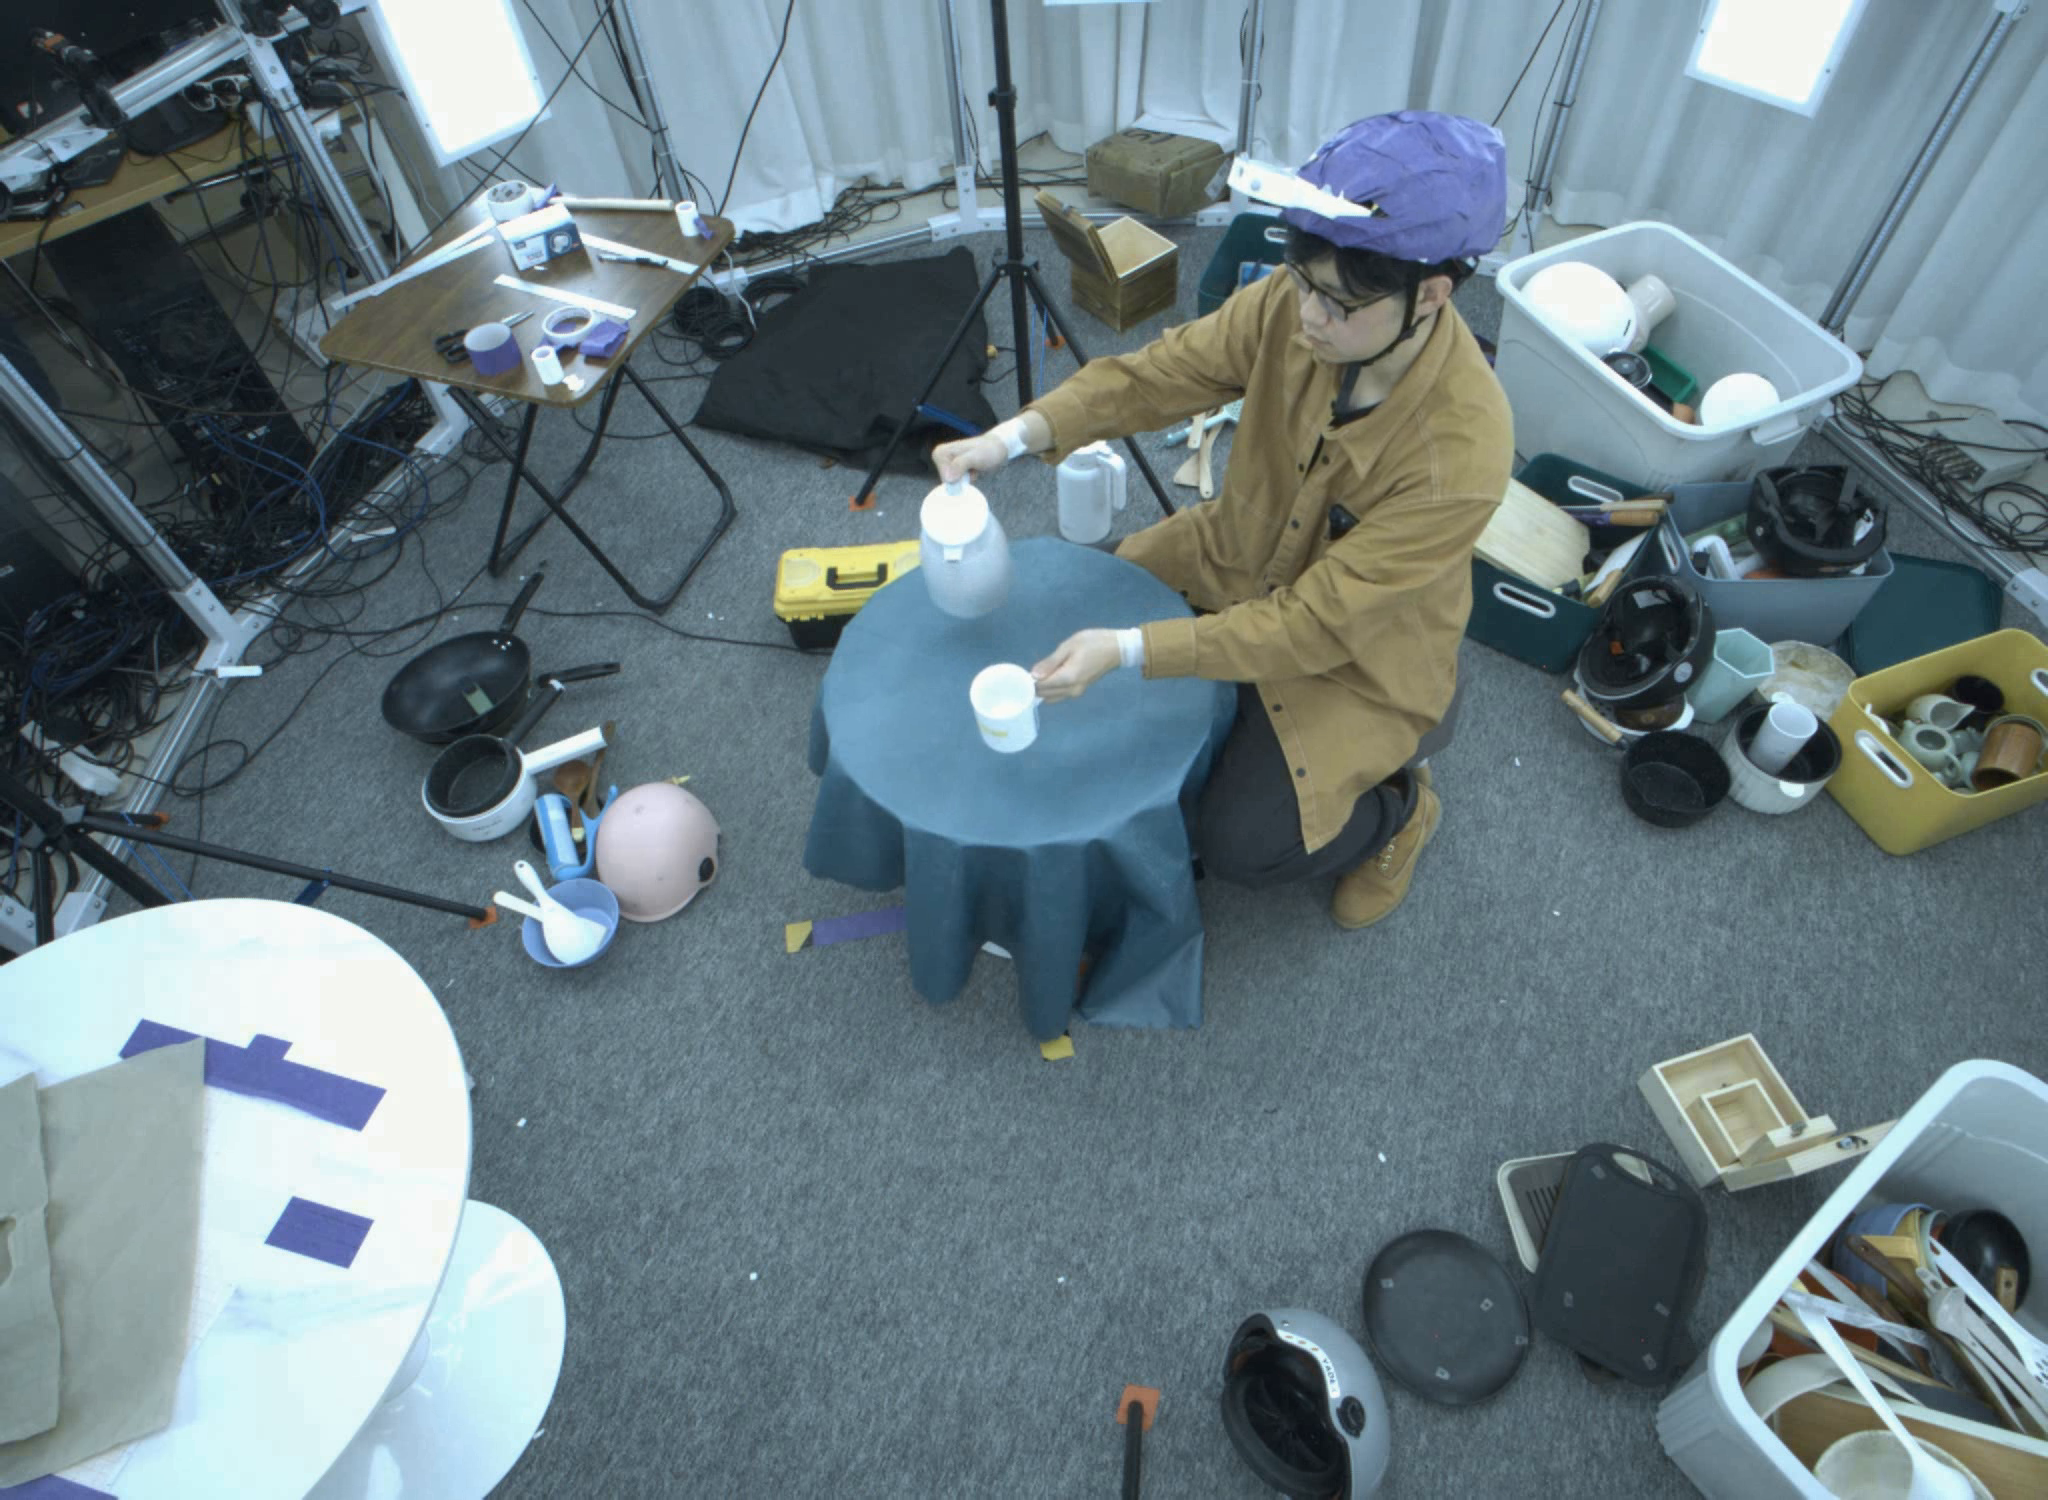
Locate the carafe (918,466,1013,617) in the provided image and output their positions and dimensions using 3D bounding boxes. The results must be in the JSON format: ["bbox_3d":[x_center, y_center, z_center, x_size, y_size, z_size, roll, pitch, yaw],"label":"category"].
[{"bbox_3d":[-0.090,-0.309,1.739,0.132,0.250,0.167,0,77,3],"label":"carafe"}]

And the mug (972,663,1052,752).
[{"bbox_3d":[-0.012,-0.065,1.678,0.119,0.103,0.083,-38,66,-16],"label":"mug"}]
